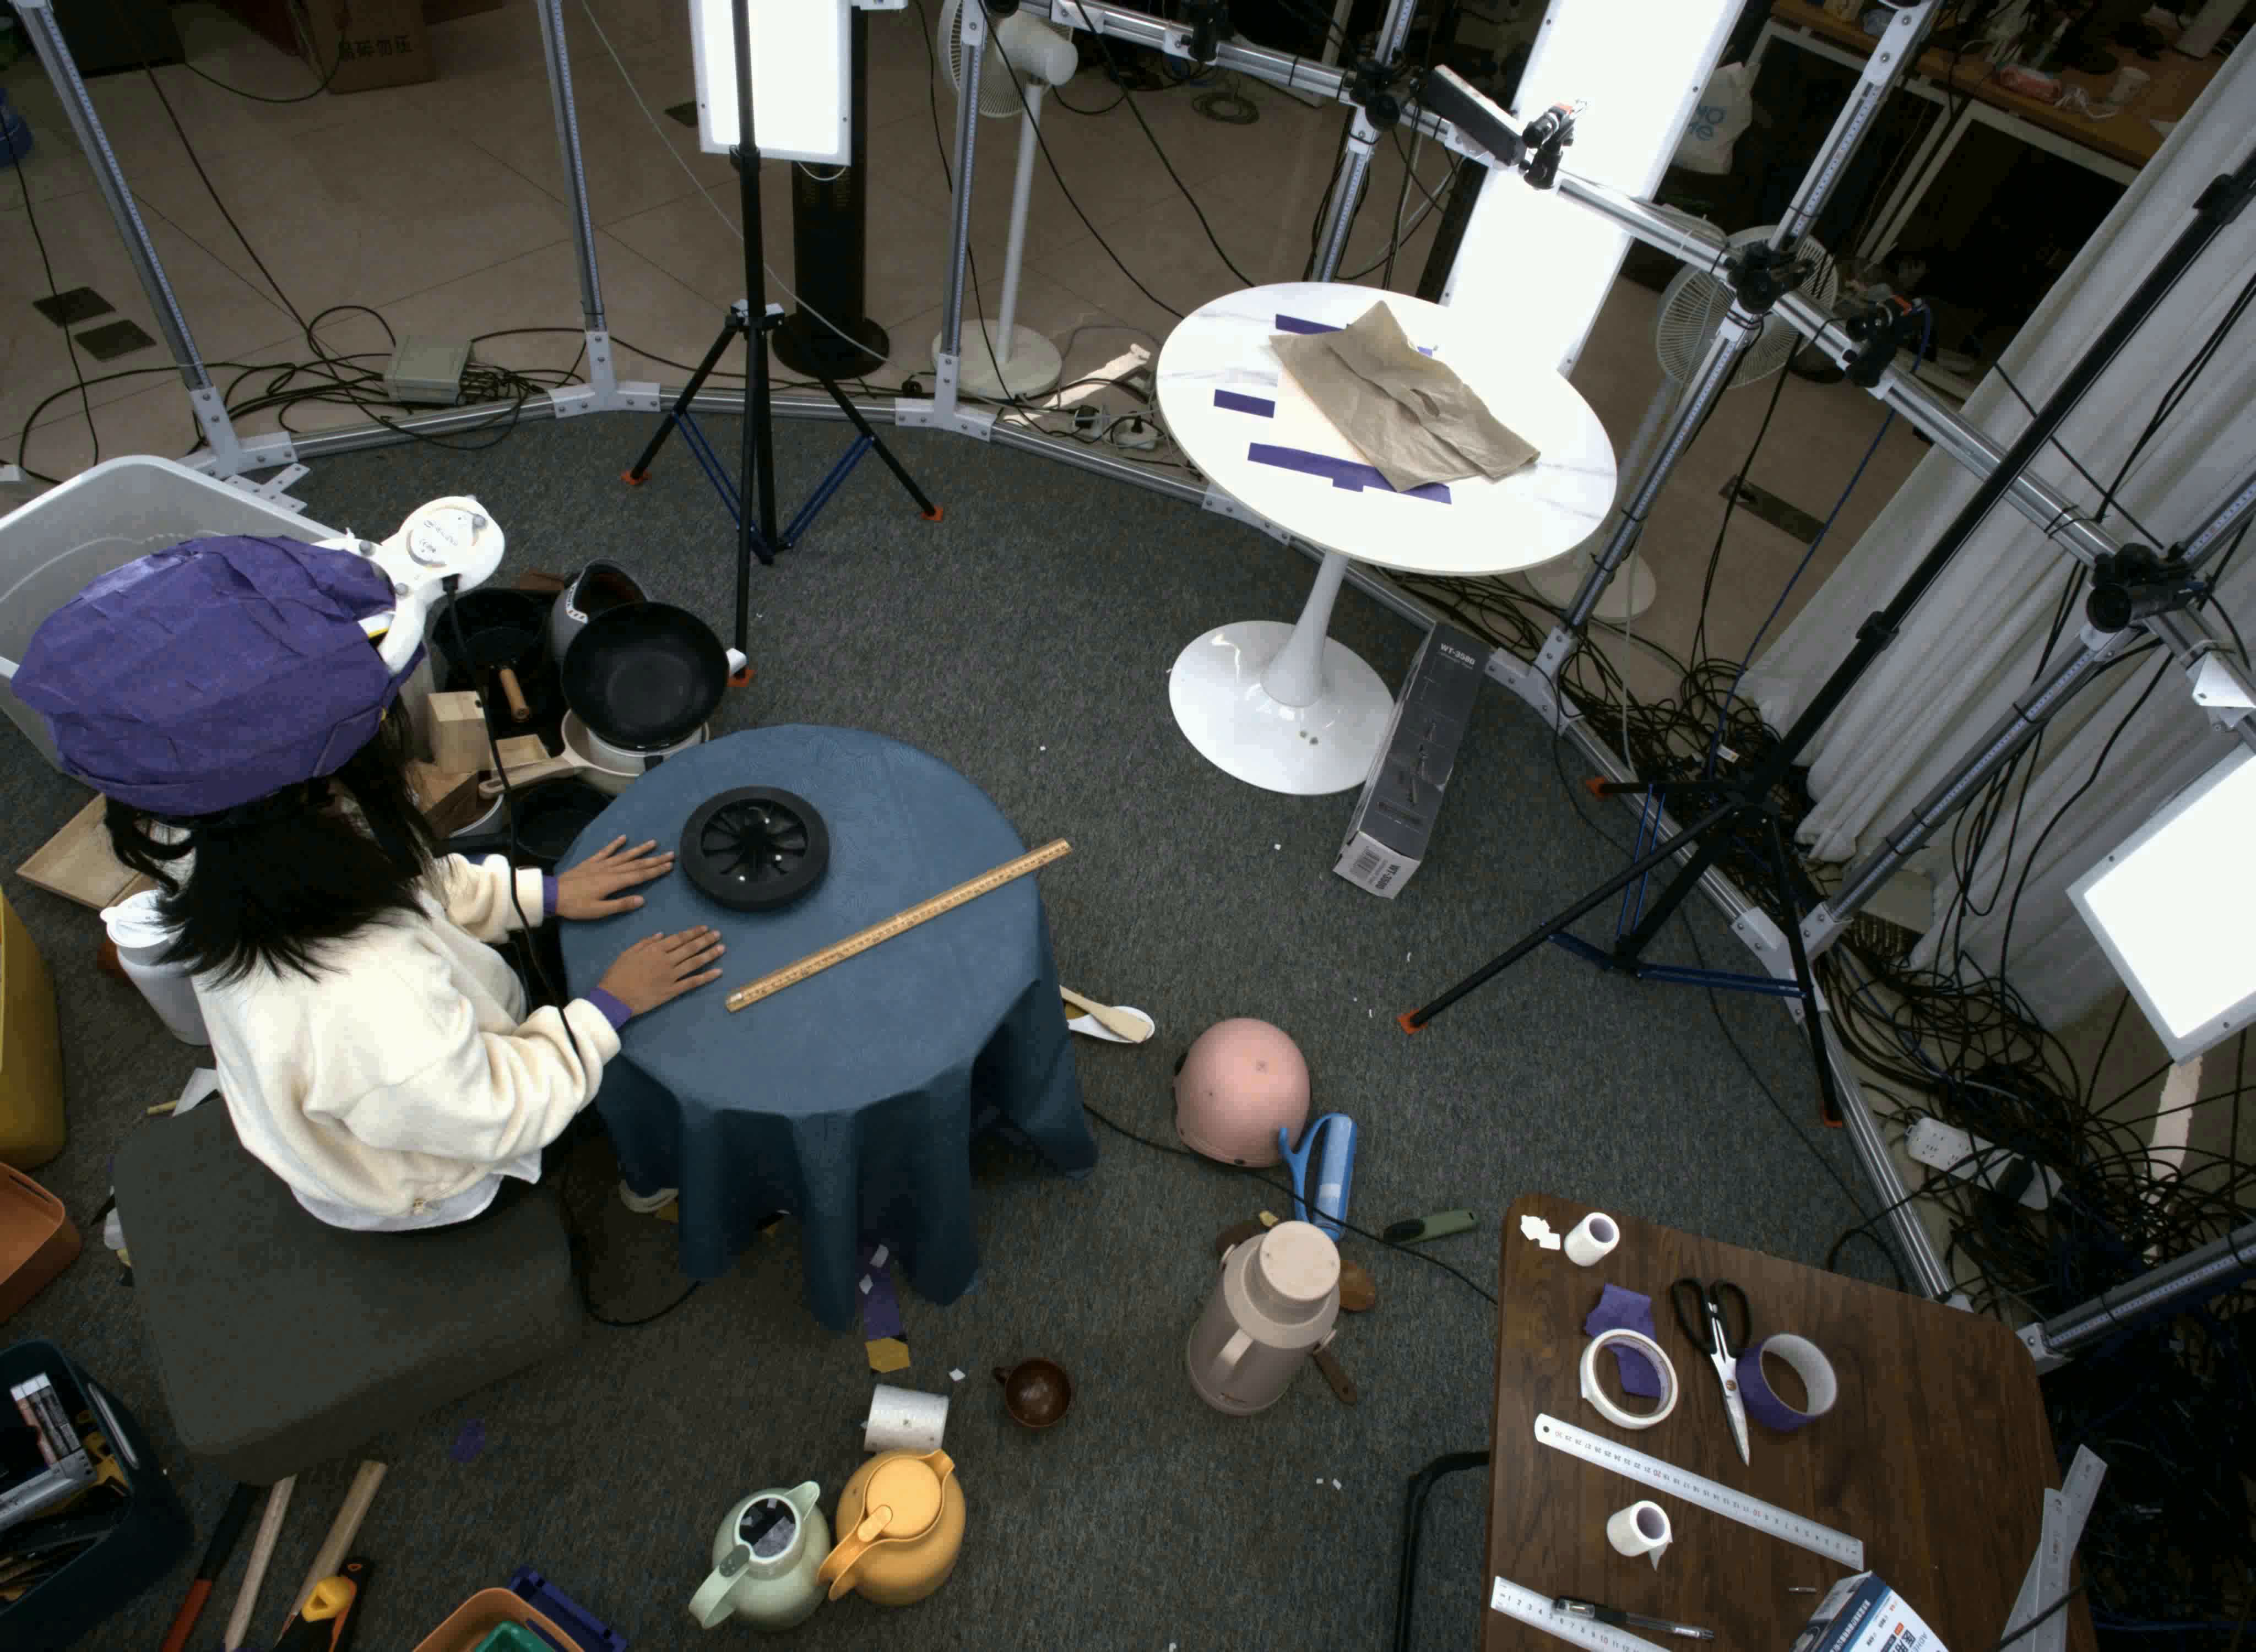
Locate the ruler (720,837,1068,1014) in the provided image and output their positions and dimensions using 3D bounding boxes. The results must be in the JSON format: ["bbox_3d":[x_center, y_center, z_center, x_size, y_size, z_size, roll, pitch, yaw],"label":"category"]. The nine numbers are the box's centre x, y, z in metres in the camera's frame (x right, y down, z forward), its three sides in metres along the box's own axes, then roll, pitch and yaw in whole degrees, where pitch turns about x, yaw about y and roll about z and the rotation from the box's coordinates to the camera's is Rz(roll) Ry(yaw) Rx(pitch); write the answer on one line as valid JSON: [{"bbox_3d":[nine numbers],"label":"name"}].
[{"bbox_3d":[-0.284,0.119,1.664,0.503,0.006,0.026,-26,65,-29],"label":"ruler"}]

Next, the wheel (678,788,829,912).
[{"bbox_3d":[-0.478,0.013,1.646,0.188,0.081,0.186,21,52,3],"label":"wheel"}]
